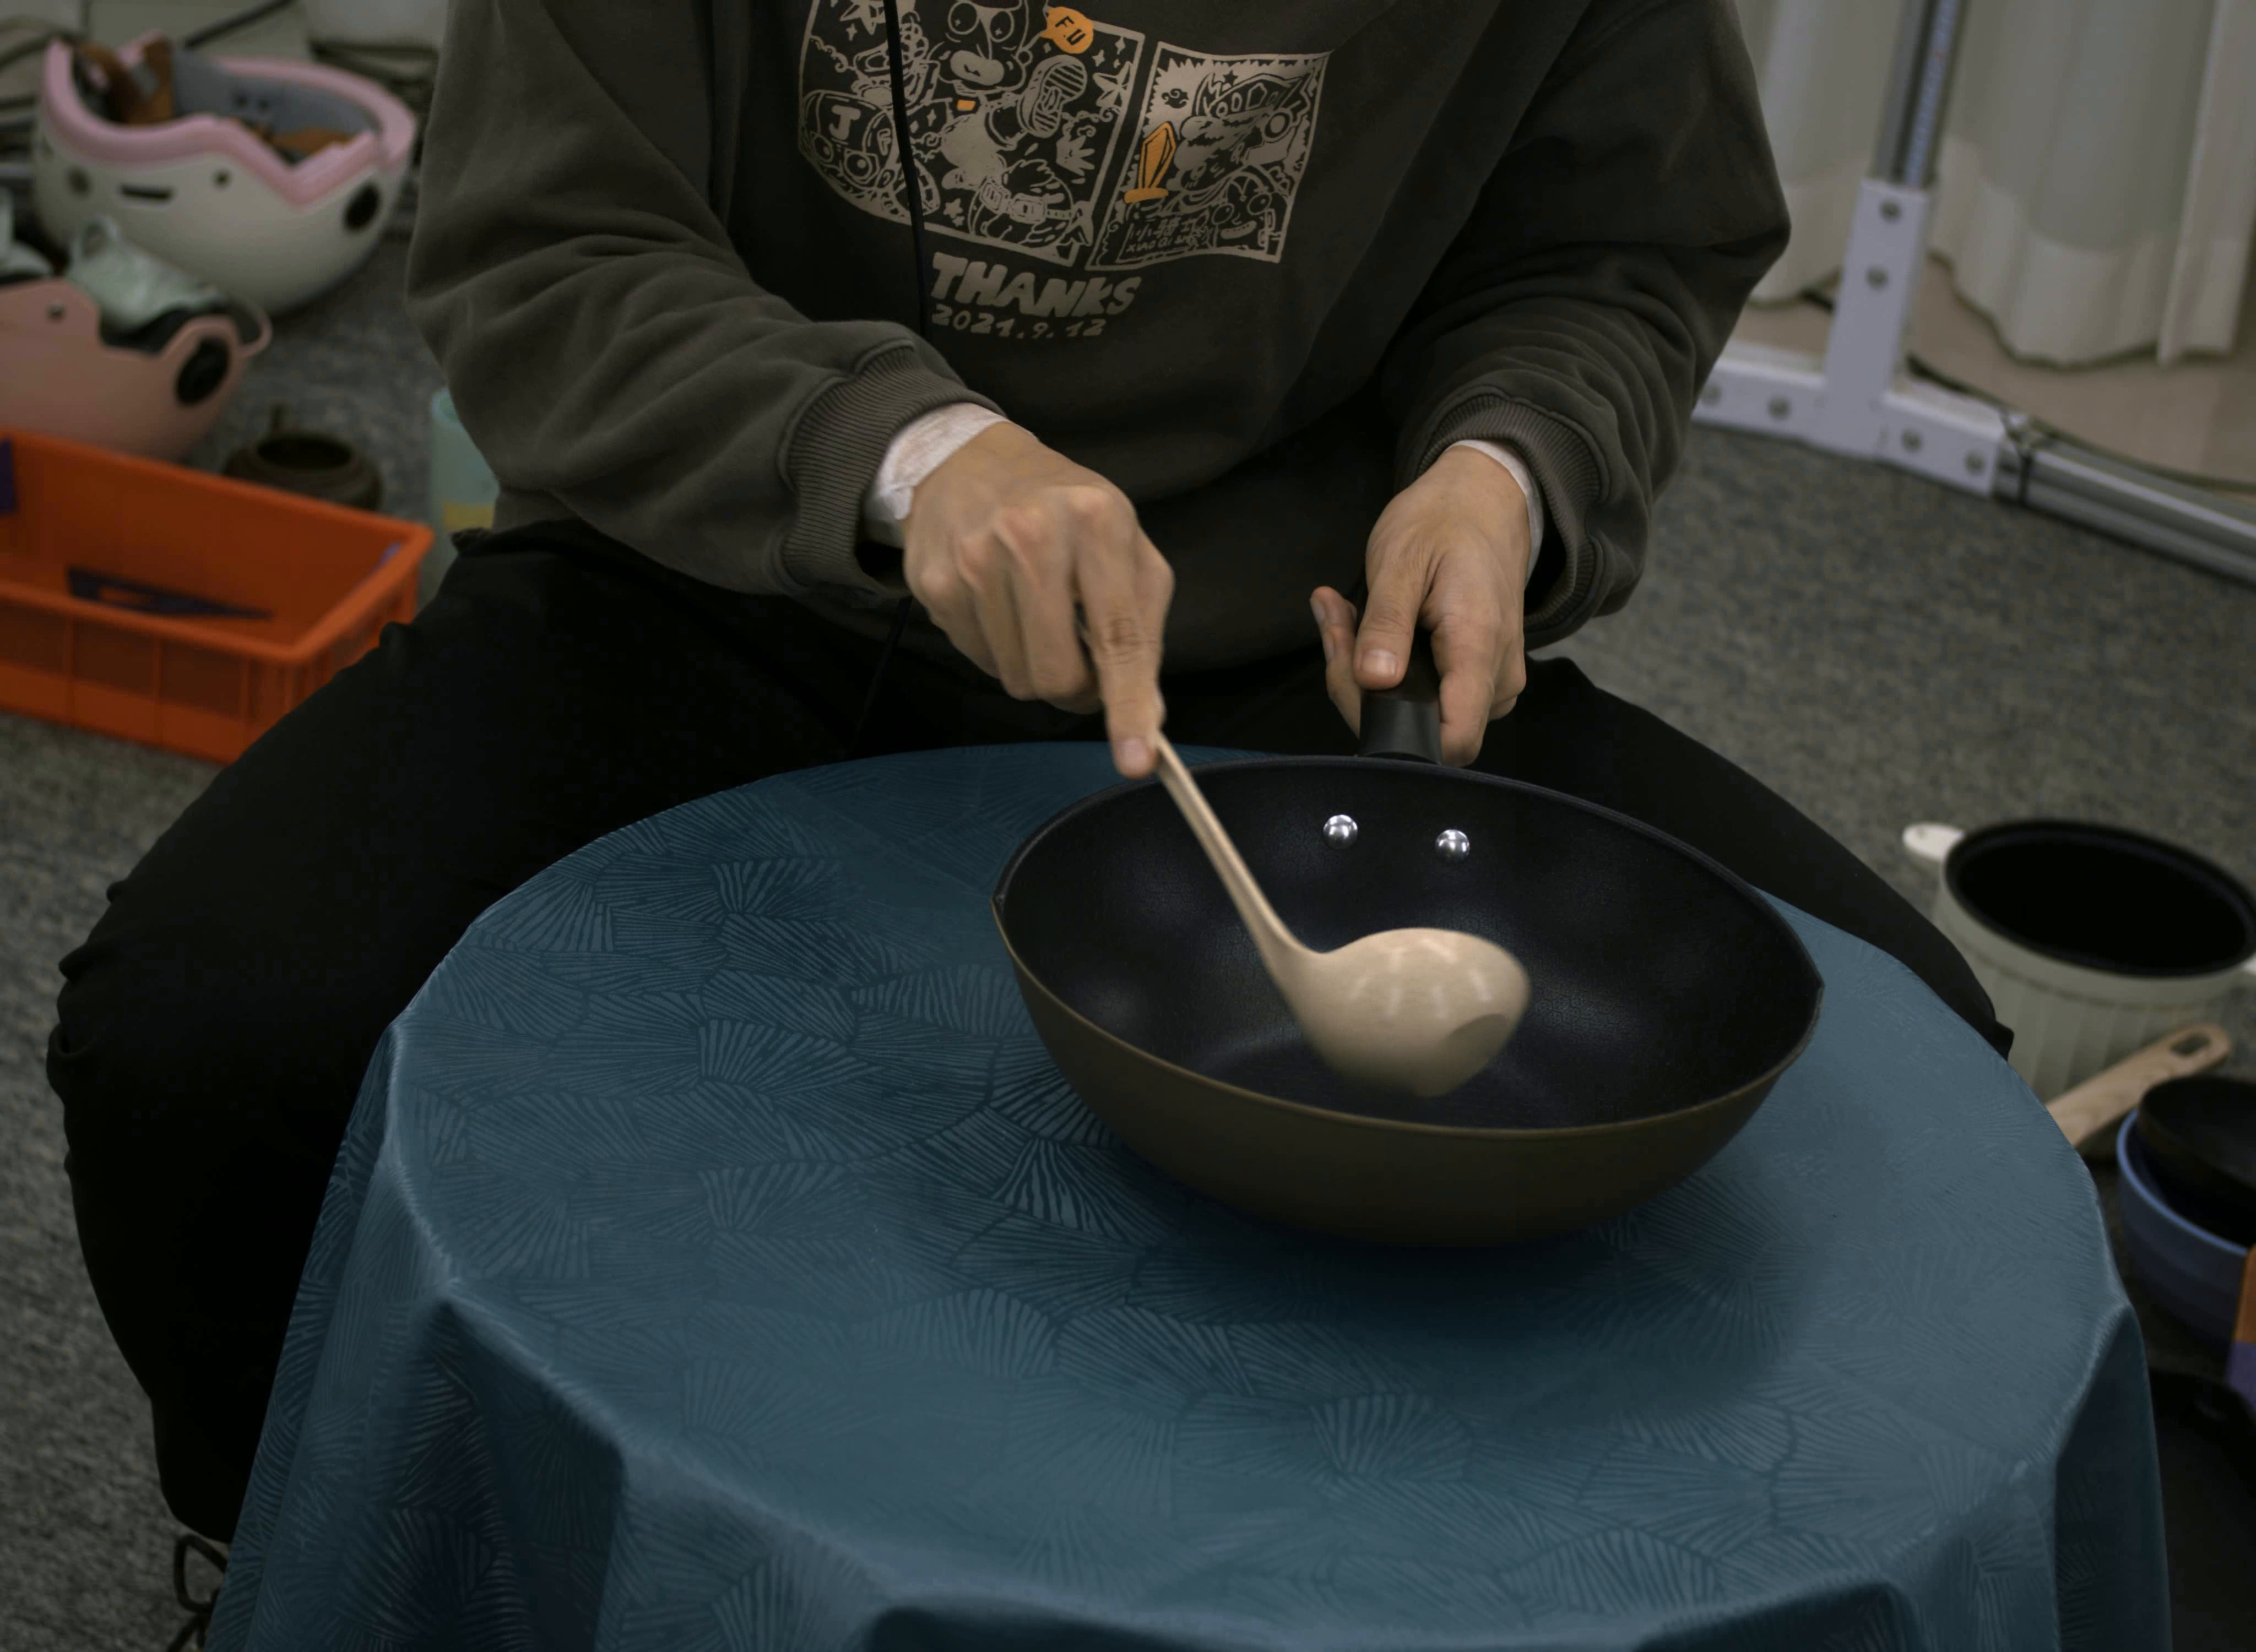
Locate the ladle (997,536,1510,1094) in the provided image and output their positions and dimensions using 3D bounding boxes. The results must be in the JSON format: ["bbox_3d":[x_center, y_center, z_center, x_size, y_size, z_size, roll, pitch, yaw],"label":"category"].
[{"bbox_3d":[0.043,-0.016,1.821,0.072,0.072,0.257,-21,59,-18],"label":"ladle"}]

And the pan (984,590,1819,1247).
[{"bbox_3d":[0.093,0.033,1.915,0.287,0.086,0.465,6,24,0],"label":"pan"}]
